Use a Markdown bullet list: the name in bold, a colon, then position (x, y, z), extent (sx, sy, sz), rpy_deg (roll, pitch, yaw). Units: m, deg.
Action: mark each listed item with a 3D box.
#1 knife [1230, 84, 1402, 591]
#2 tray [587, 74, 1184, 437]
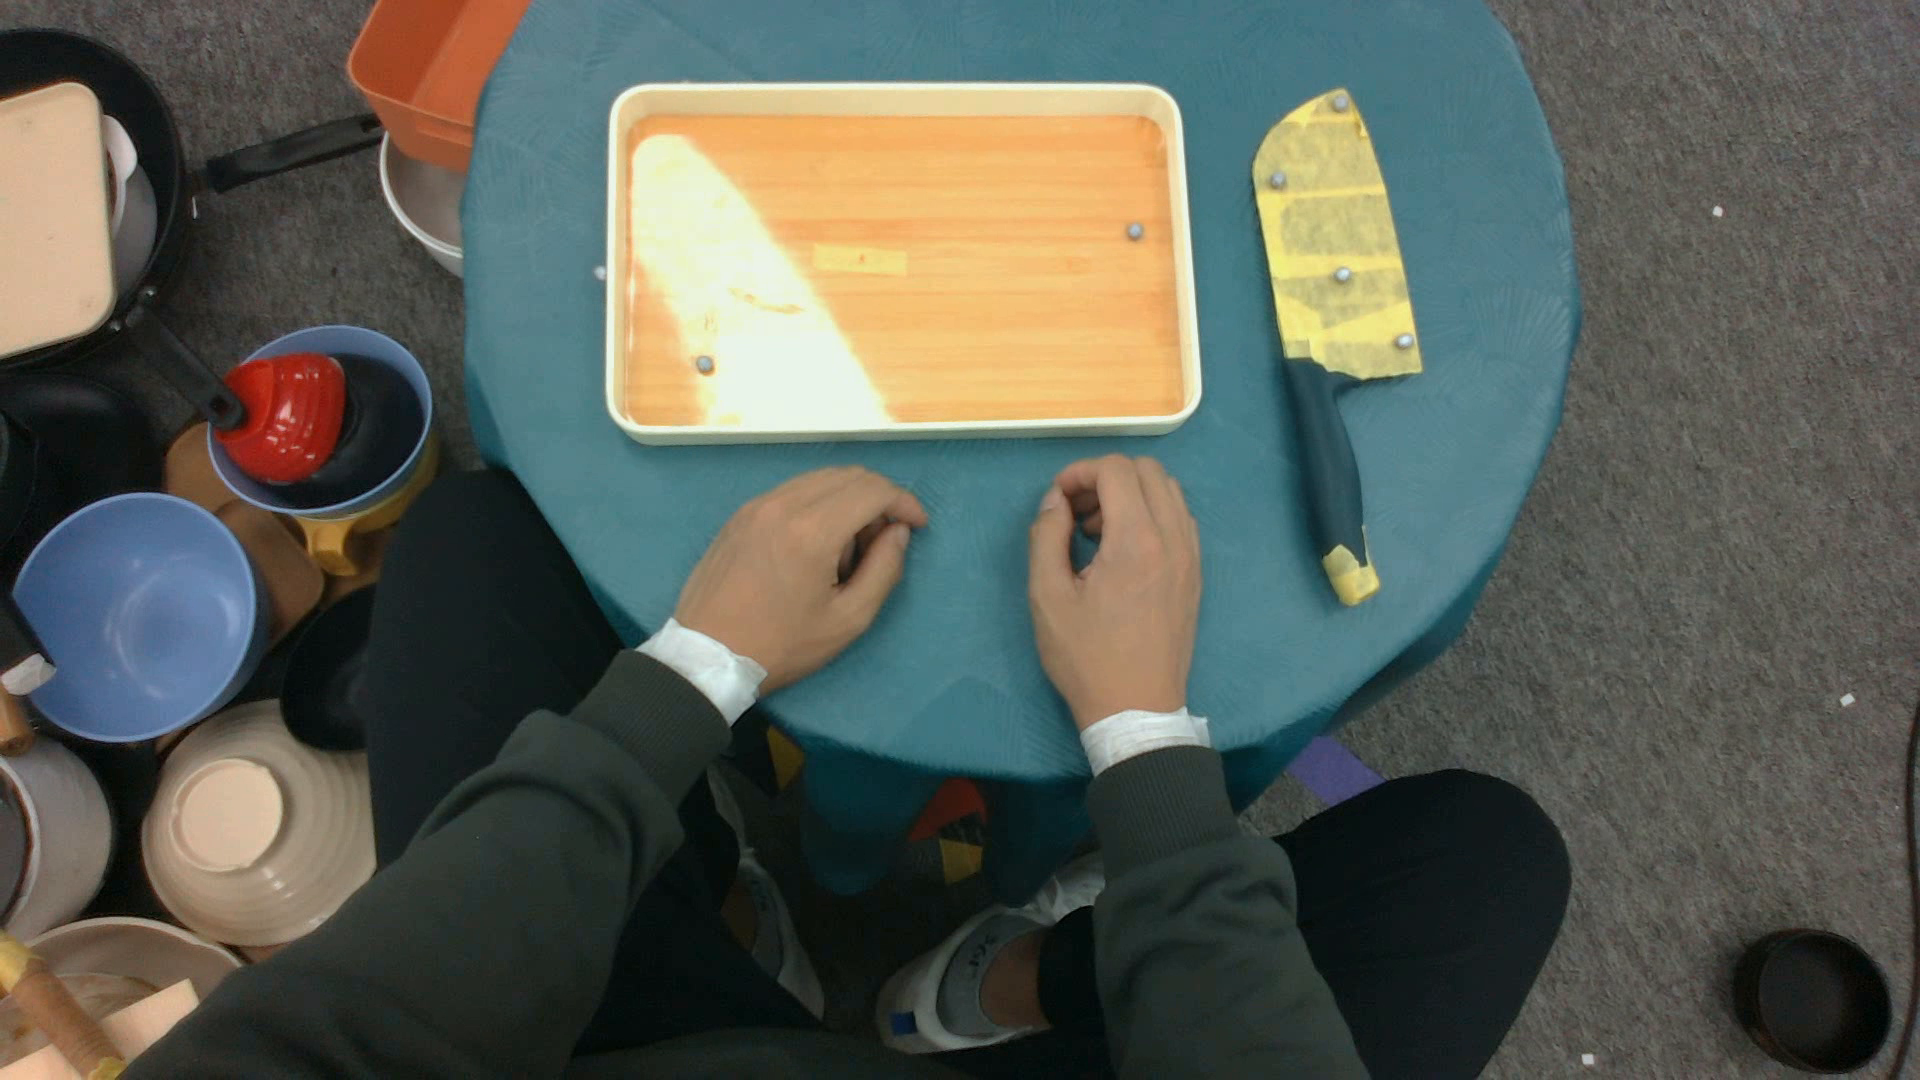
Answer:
- **knife**: position (0.194, -0.115, 0.734), extent (0.081, 0.027, 0.290), rpy_deg (-3, 76, -4)
- **tray**: position (-0.039, -0.150, 0.718), extent (0.300, 0.027, 0.192), rpy_deg (-2, 78, -4)
